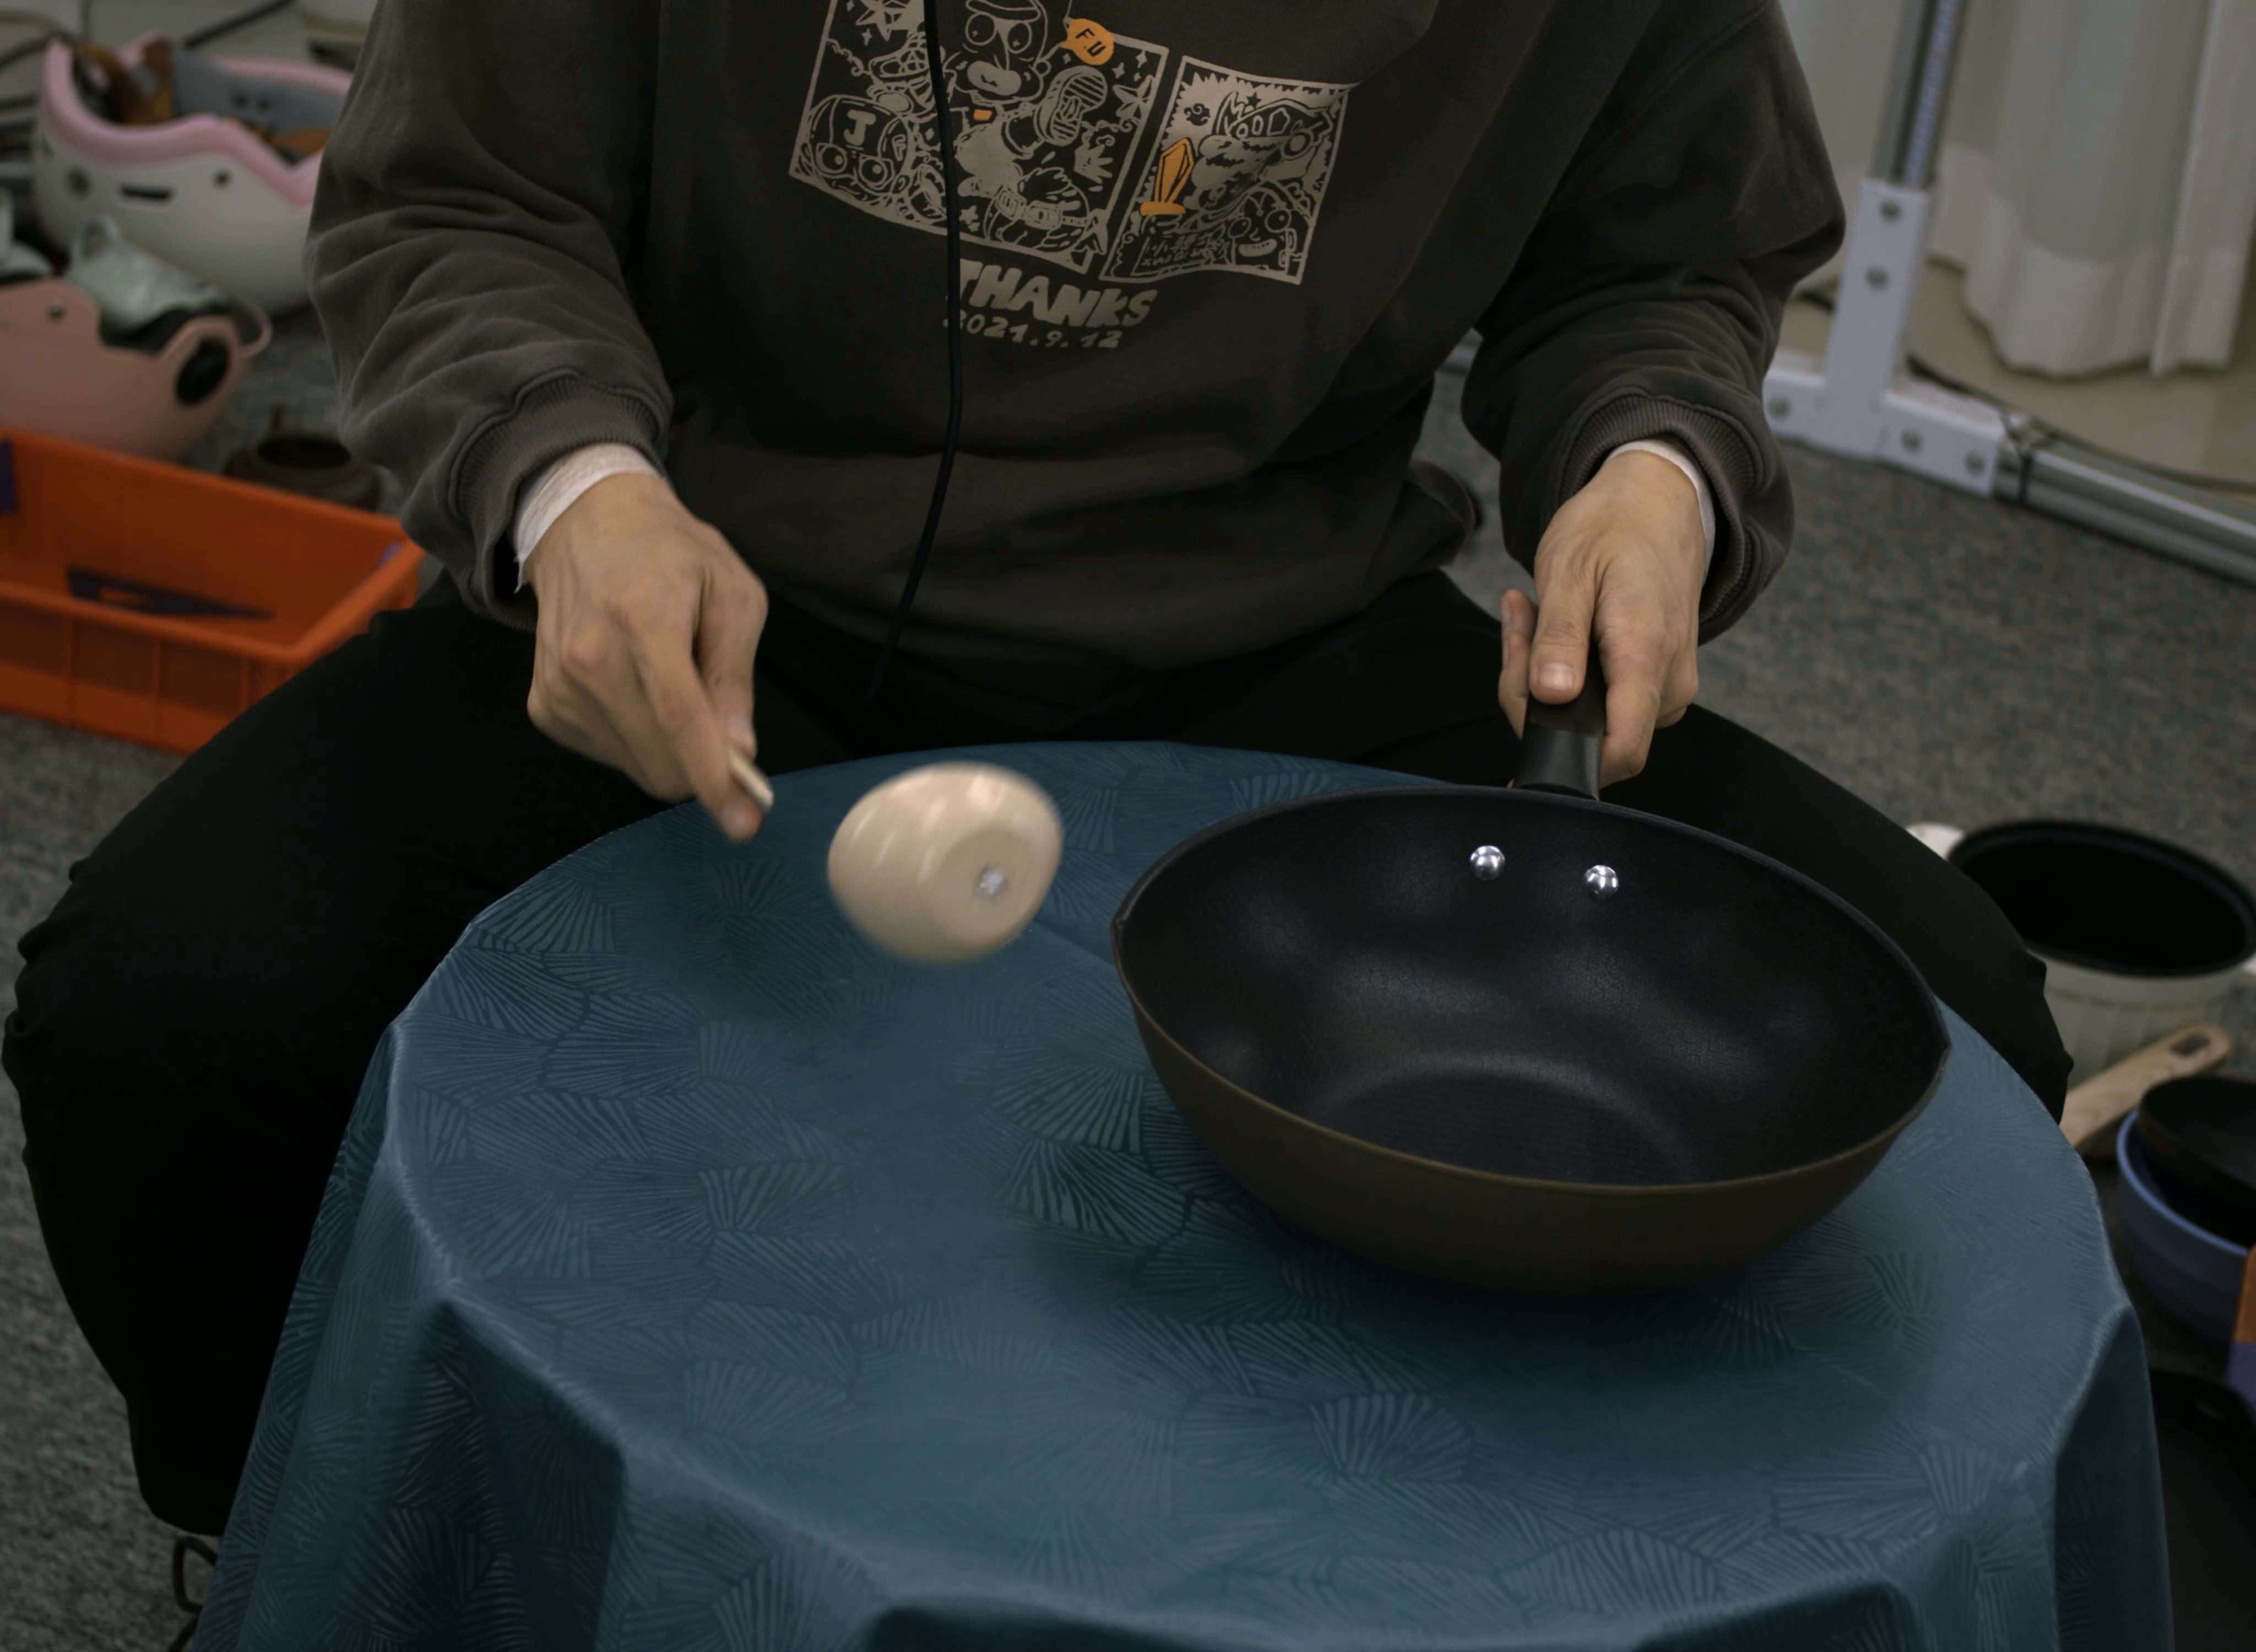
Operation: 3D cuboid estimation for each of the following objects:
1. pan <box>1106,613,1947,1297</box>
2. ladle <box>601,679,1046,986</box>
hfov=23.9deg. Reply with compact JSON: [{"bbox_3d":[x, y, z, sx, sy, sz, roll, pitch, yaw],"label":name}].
[{"bbox_3d":[0.142,0.046,1.899,0.288,0.086,0.465,9,26,5],"label":"pan"},{"bbox_3d":[-0.106,-0.023,1.809,0.071,0.073,0.257,44,-1,-36],"label":"ladle"}]
